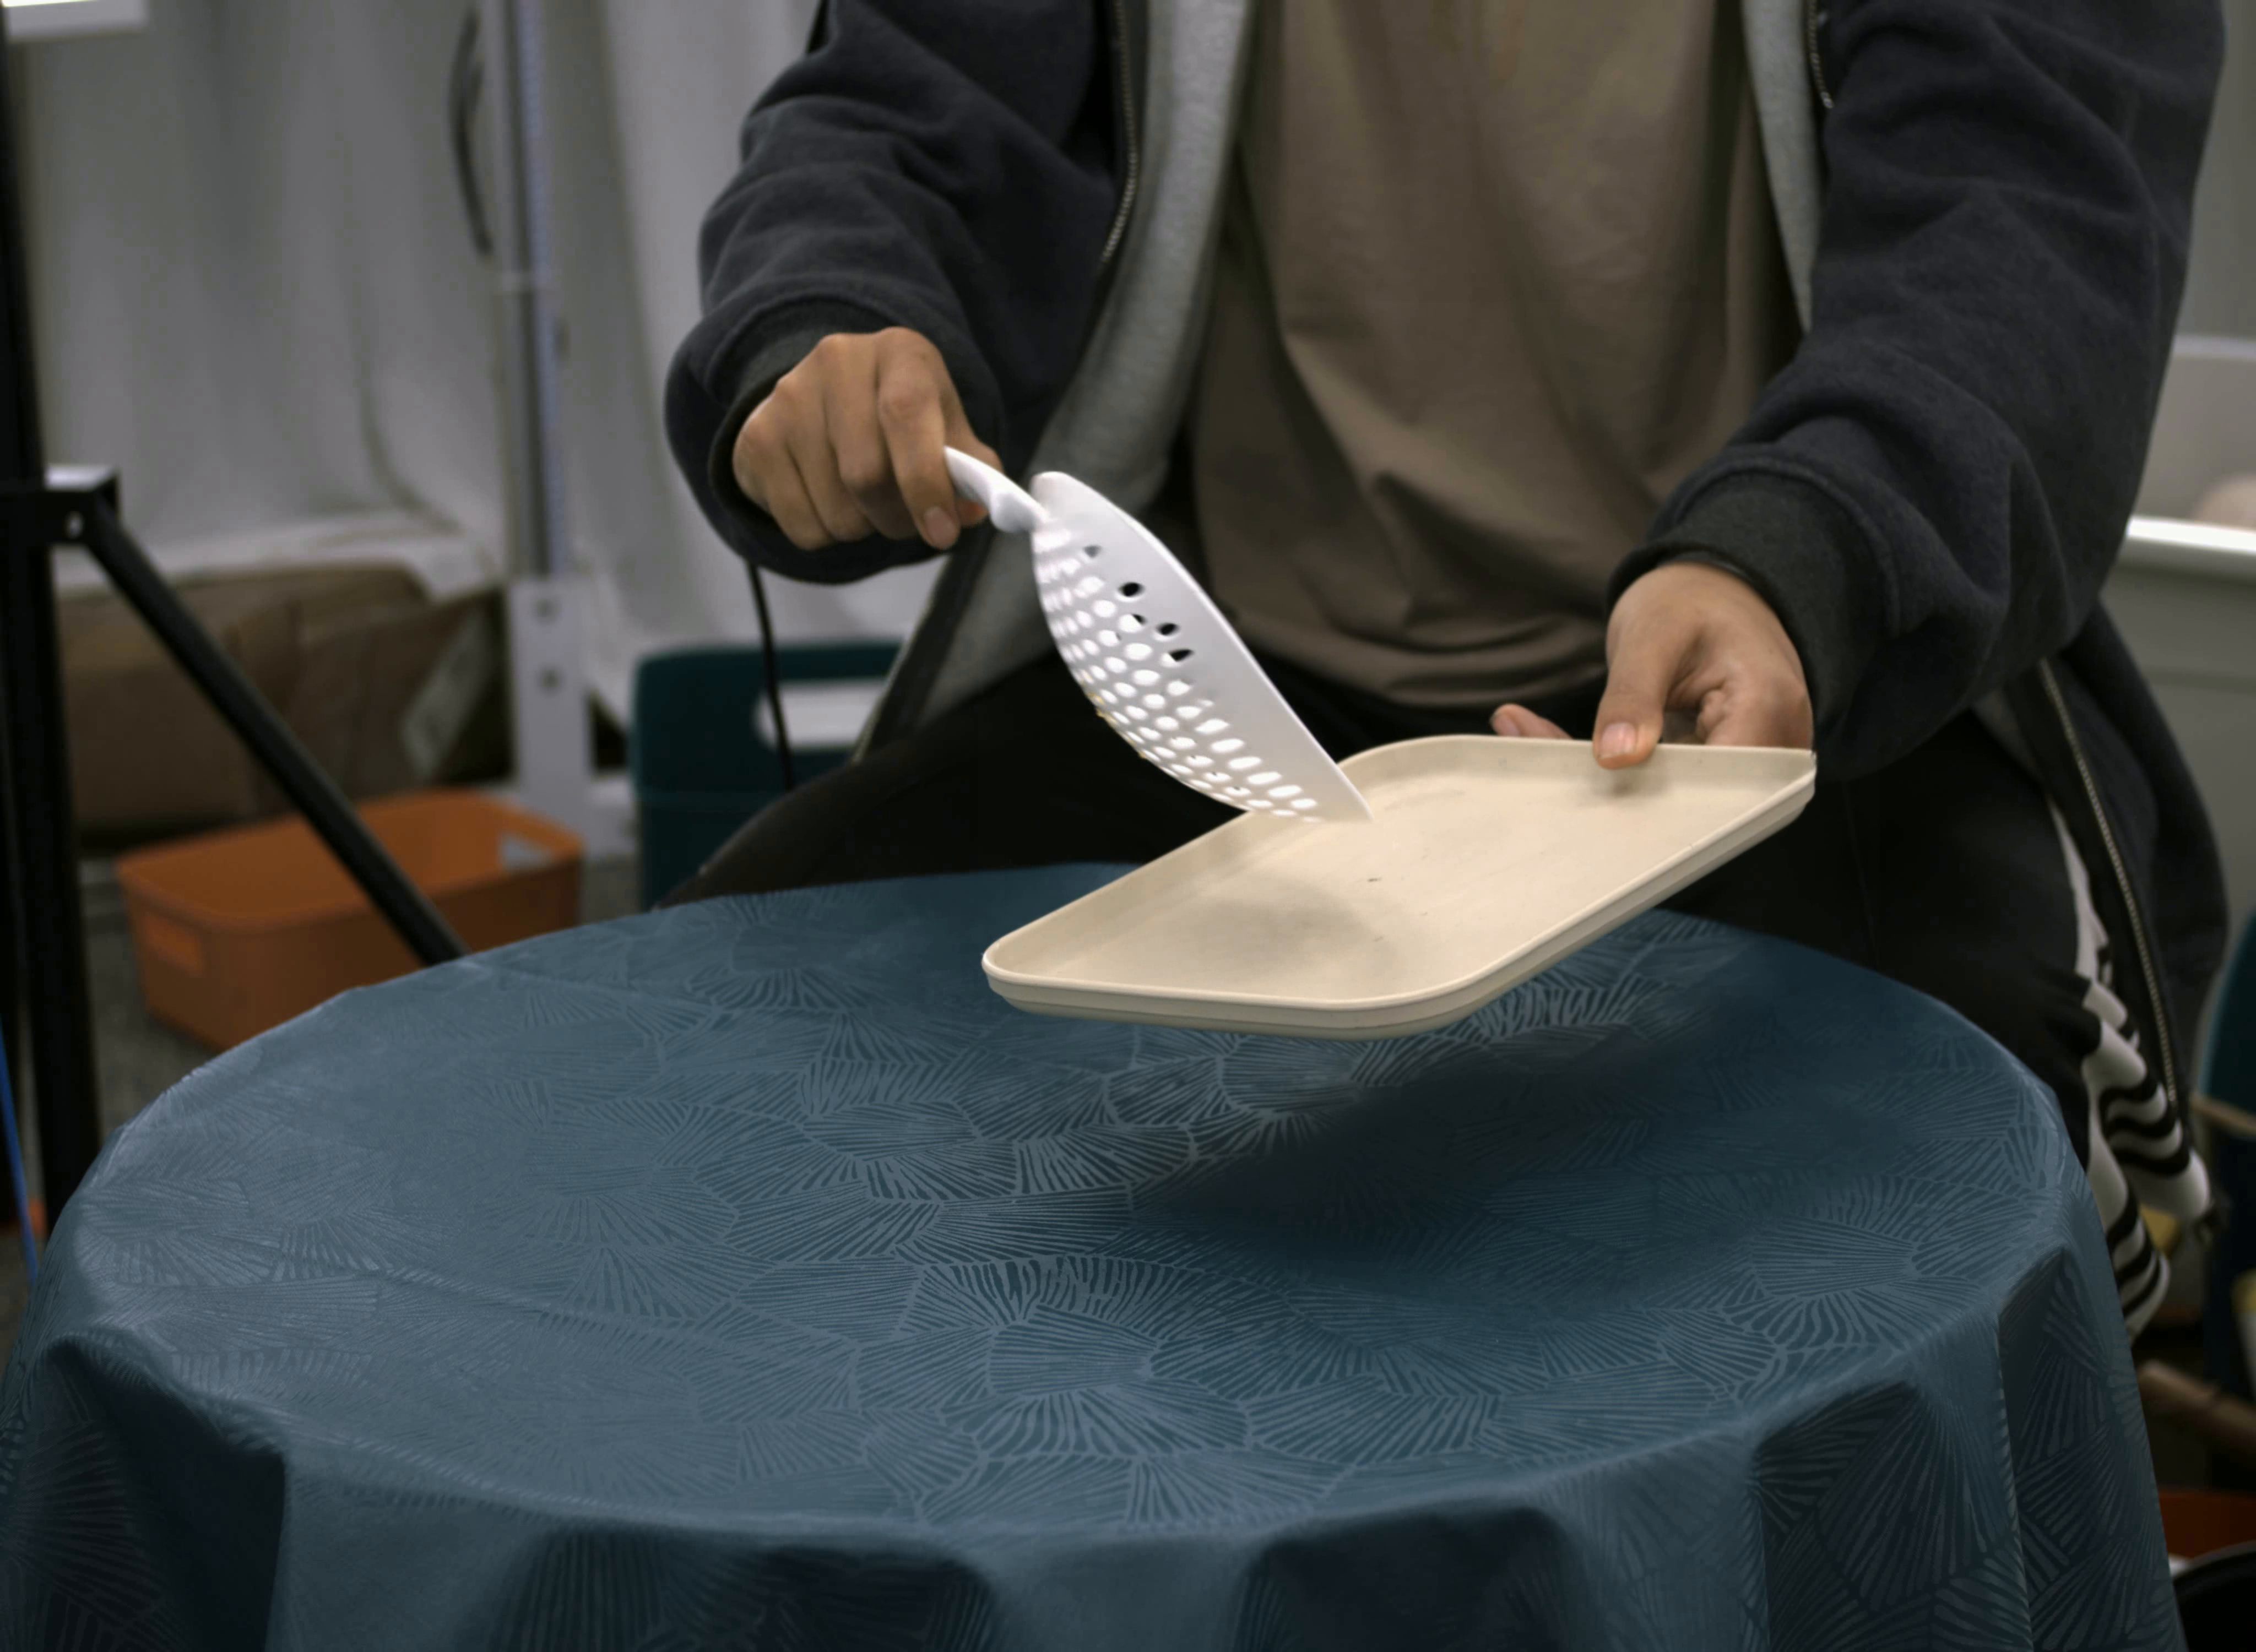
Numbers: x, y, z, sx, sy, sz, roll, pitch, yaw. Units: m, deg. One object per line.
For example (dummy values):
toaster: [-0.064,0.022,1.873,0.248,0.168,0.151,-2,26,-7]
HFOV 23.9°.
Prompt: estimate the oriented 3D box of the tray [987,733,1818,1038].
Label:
tray: [0.084,0.017,1.571,0.175,0.017,0.235,3,20,39]

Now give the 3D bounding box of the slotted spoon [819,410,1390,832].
slotted spoon: [-0.022,-0.080,1.645,0.050,0.134,0.354,-40,29,-1]
